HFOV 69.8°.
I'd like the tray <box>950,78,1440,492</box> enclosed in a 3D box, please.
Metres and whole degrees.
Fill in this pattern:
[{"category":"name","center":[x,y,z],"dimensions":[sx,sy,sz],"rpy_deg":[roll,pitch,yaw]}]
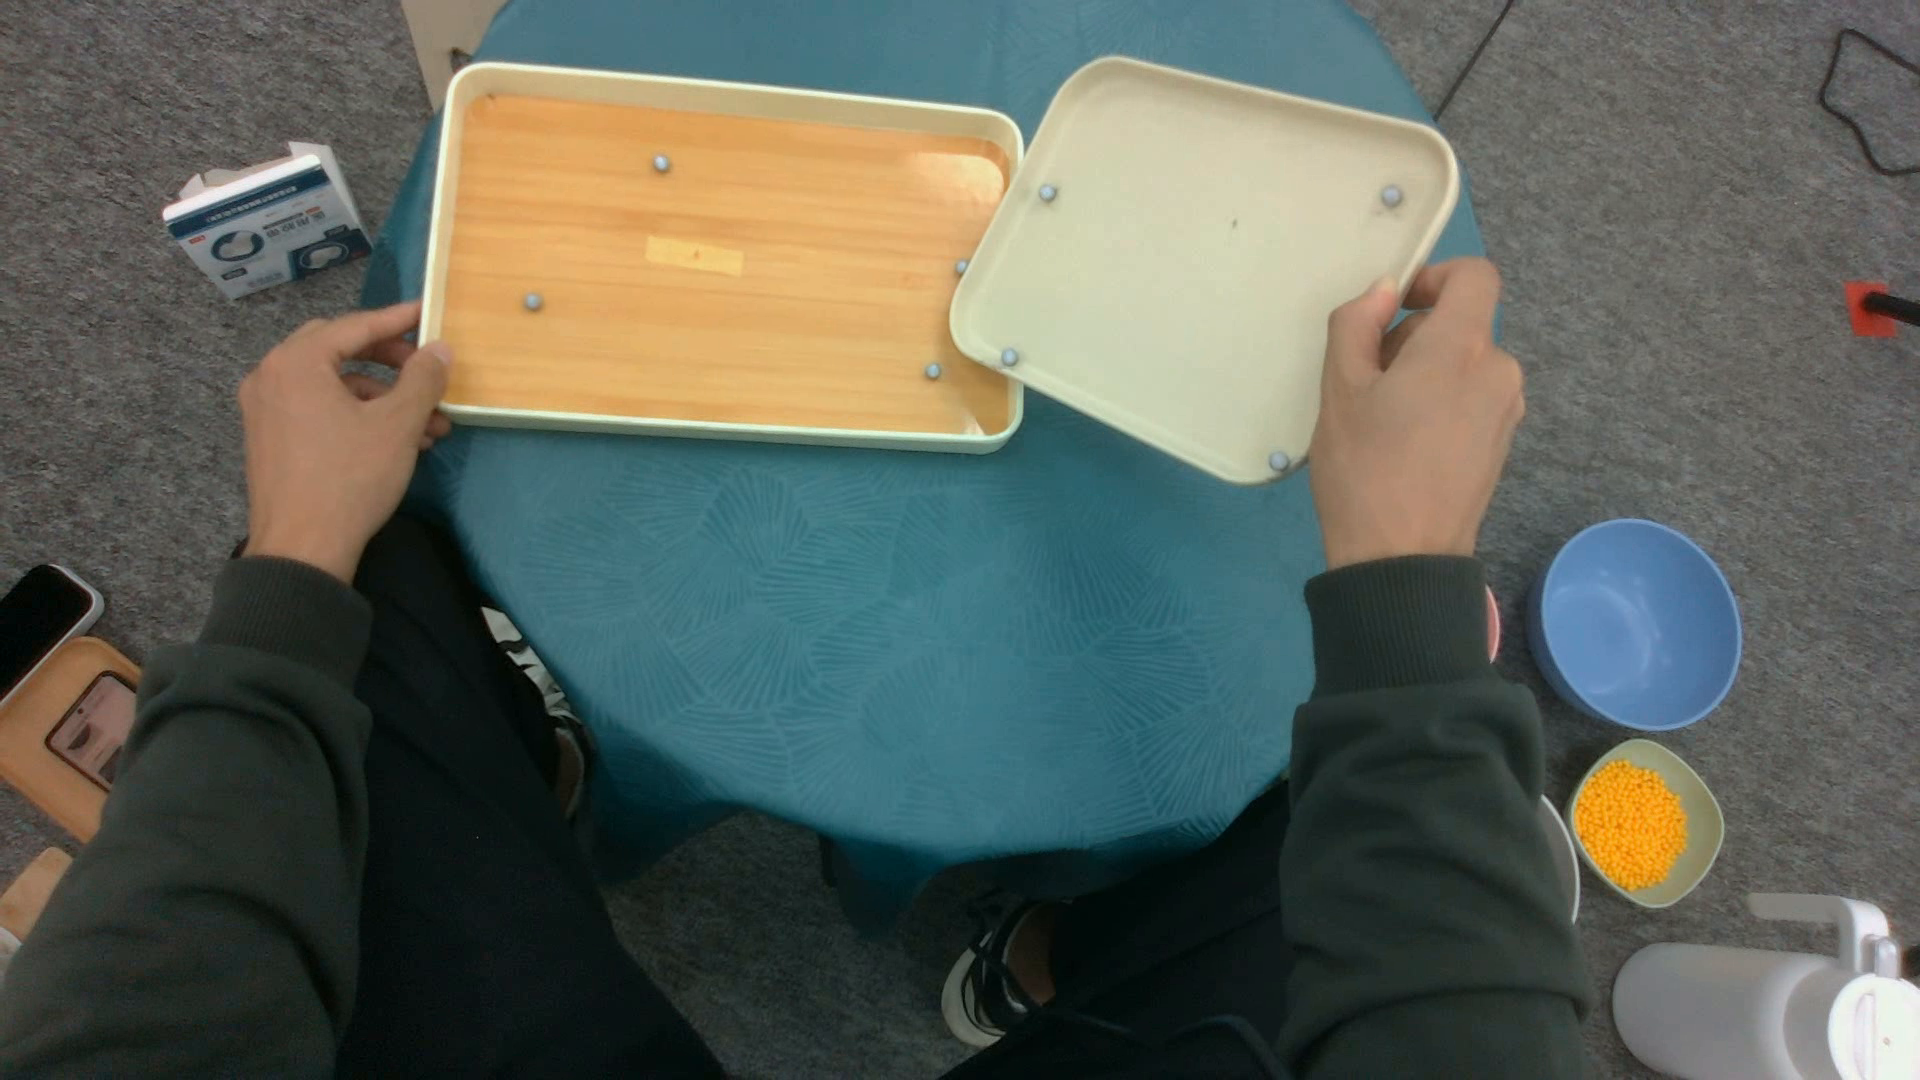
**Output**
[{"category":"tray","center":[0.102,-0.130,0.667],"dimensions":[0.239,0.017,0.171],"rpy_deg":[31,96,43]}]

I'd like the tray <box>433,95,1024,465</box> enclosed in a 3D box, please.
[{"category":"tray","center":[-0.116,-0.138,0.735],"dimensions":[0.300,0.027,0.192],"rpy_deg":[2,76,-7]}]
